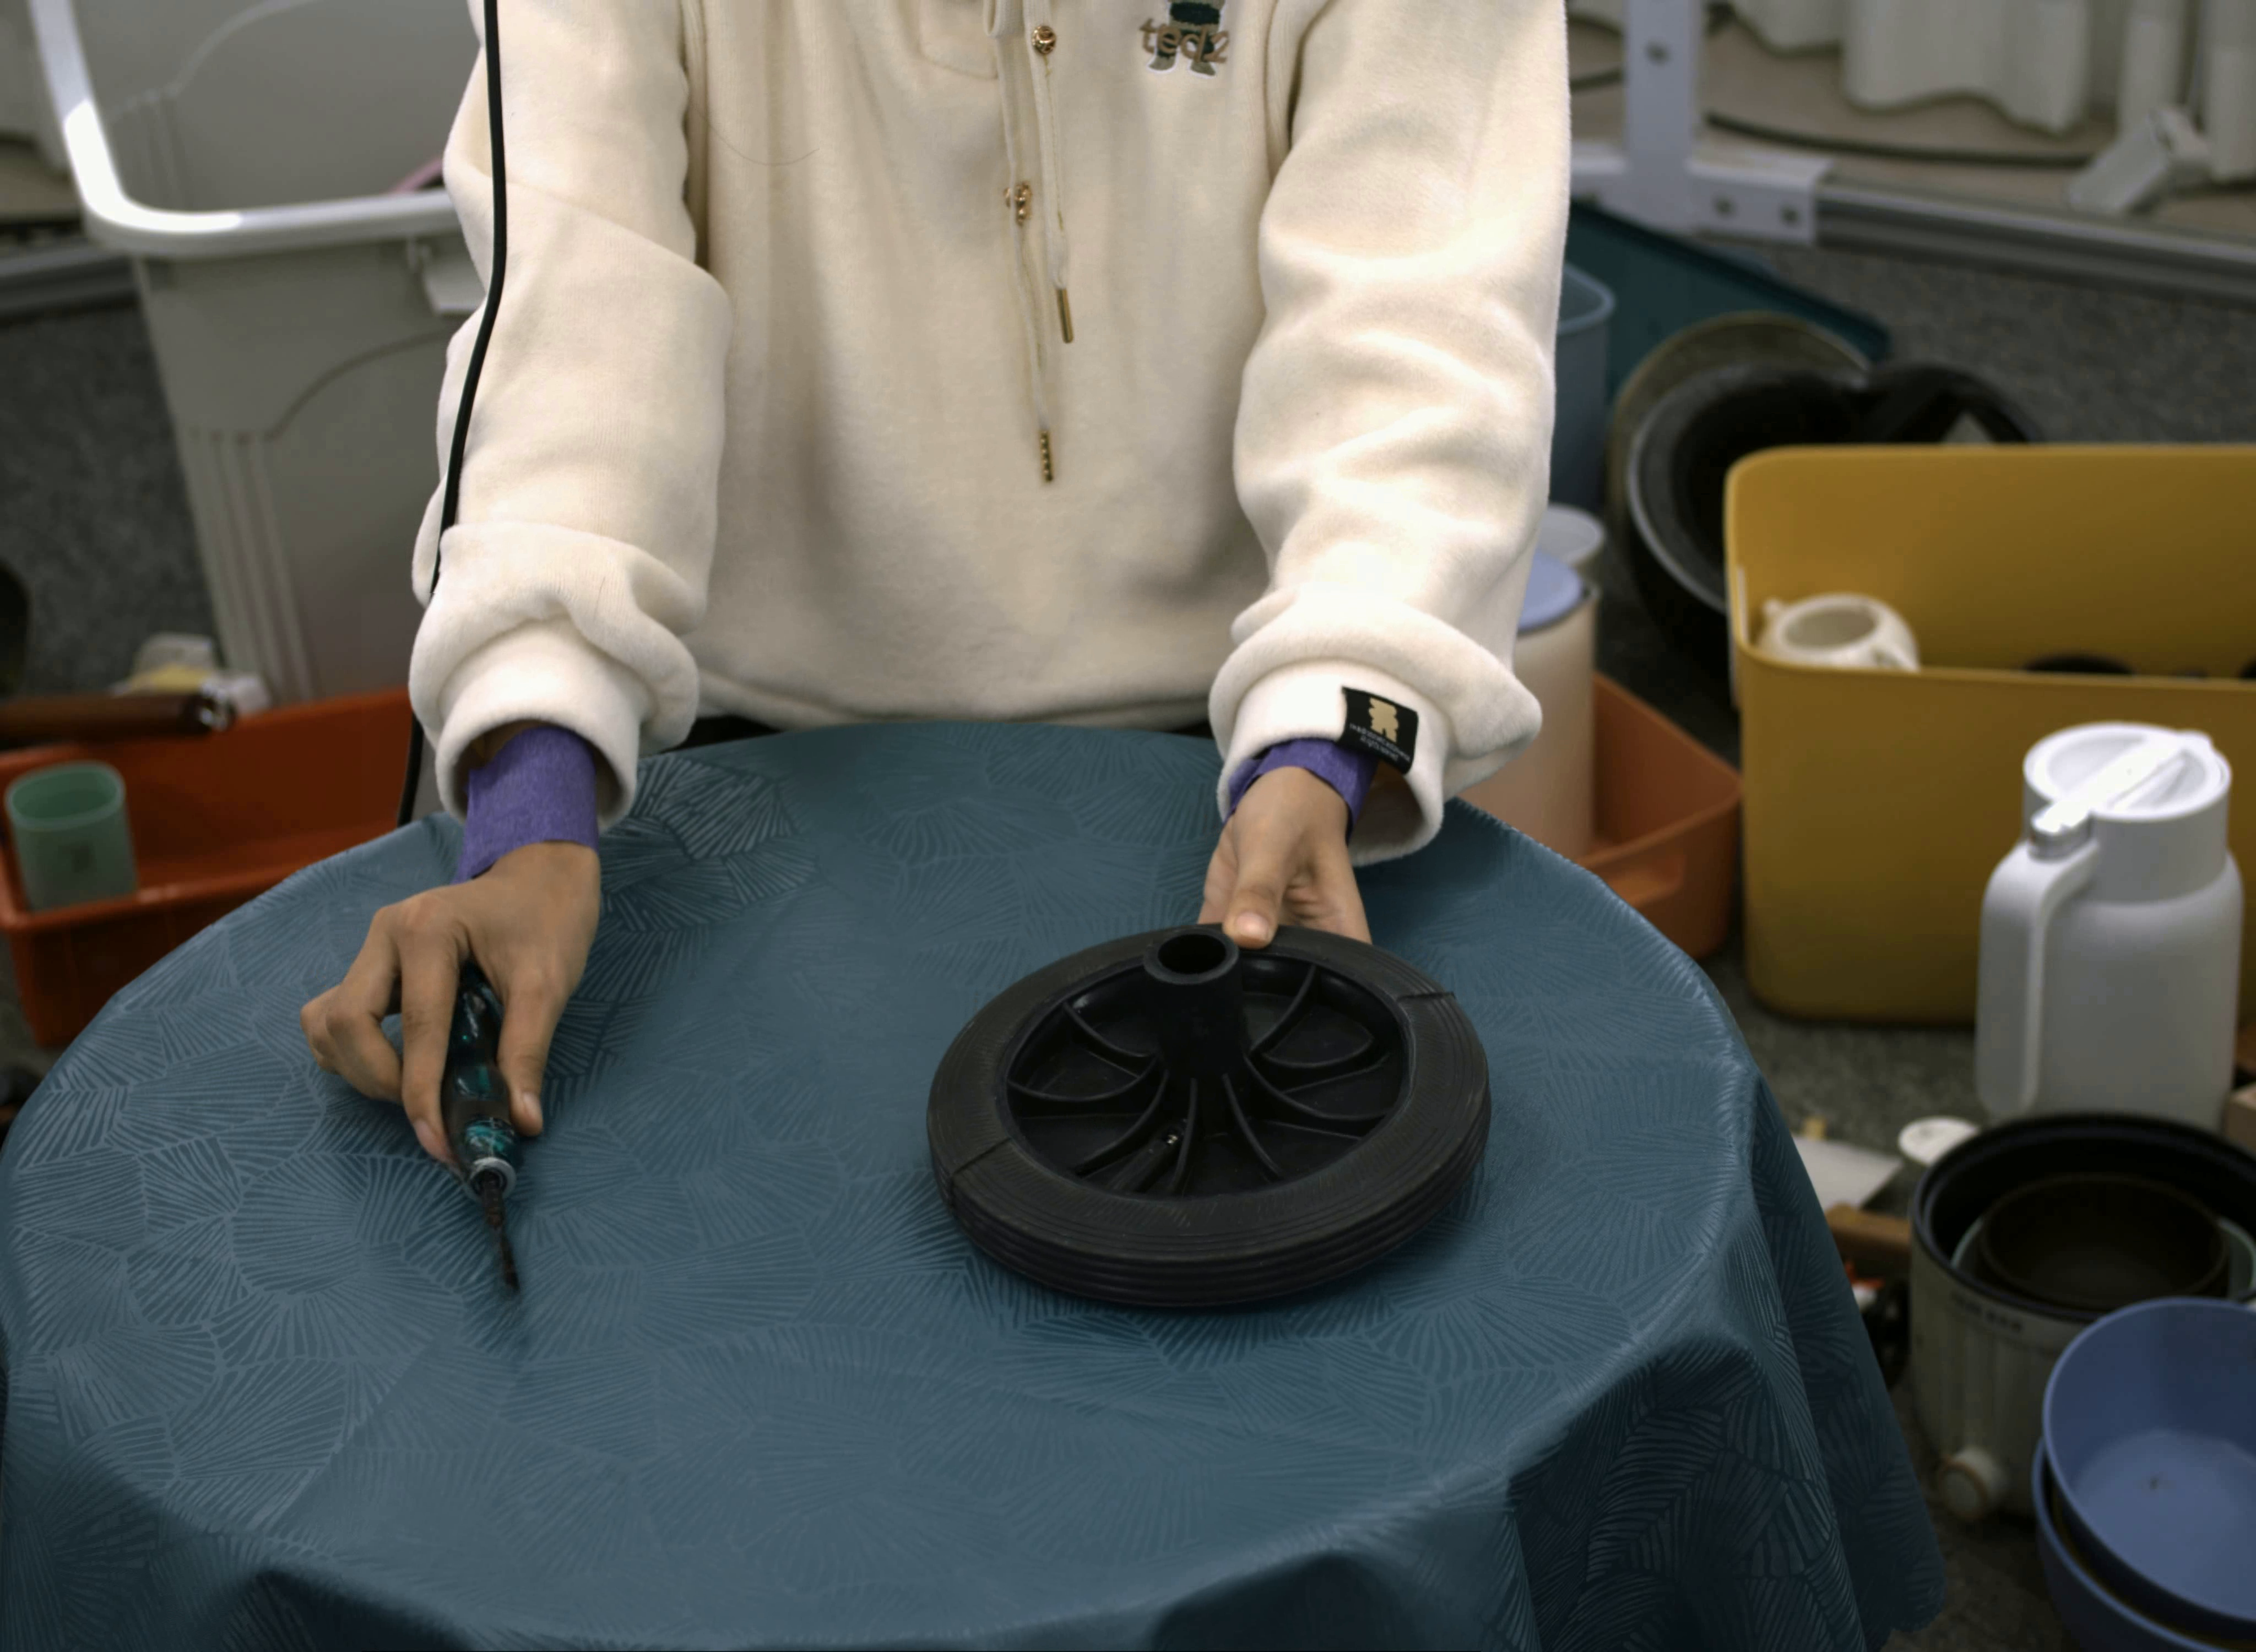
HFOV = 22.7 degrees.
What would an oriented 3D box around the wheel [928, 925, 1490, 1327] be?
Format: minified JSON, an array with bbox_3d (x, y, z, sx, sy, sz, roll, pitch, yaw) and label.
[{"bbox_3d":[0.024,0.080,1.850,0.186,0.078,0.193,1,36,11],"label":"wheel"}]

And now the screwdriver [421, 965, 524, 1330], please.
[{"bbox_3d":[-0.216,0.109,1.877,0.033,0.033,0.193,-7,34,-8],"label":"screwdriver"}]
